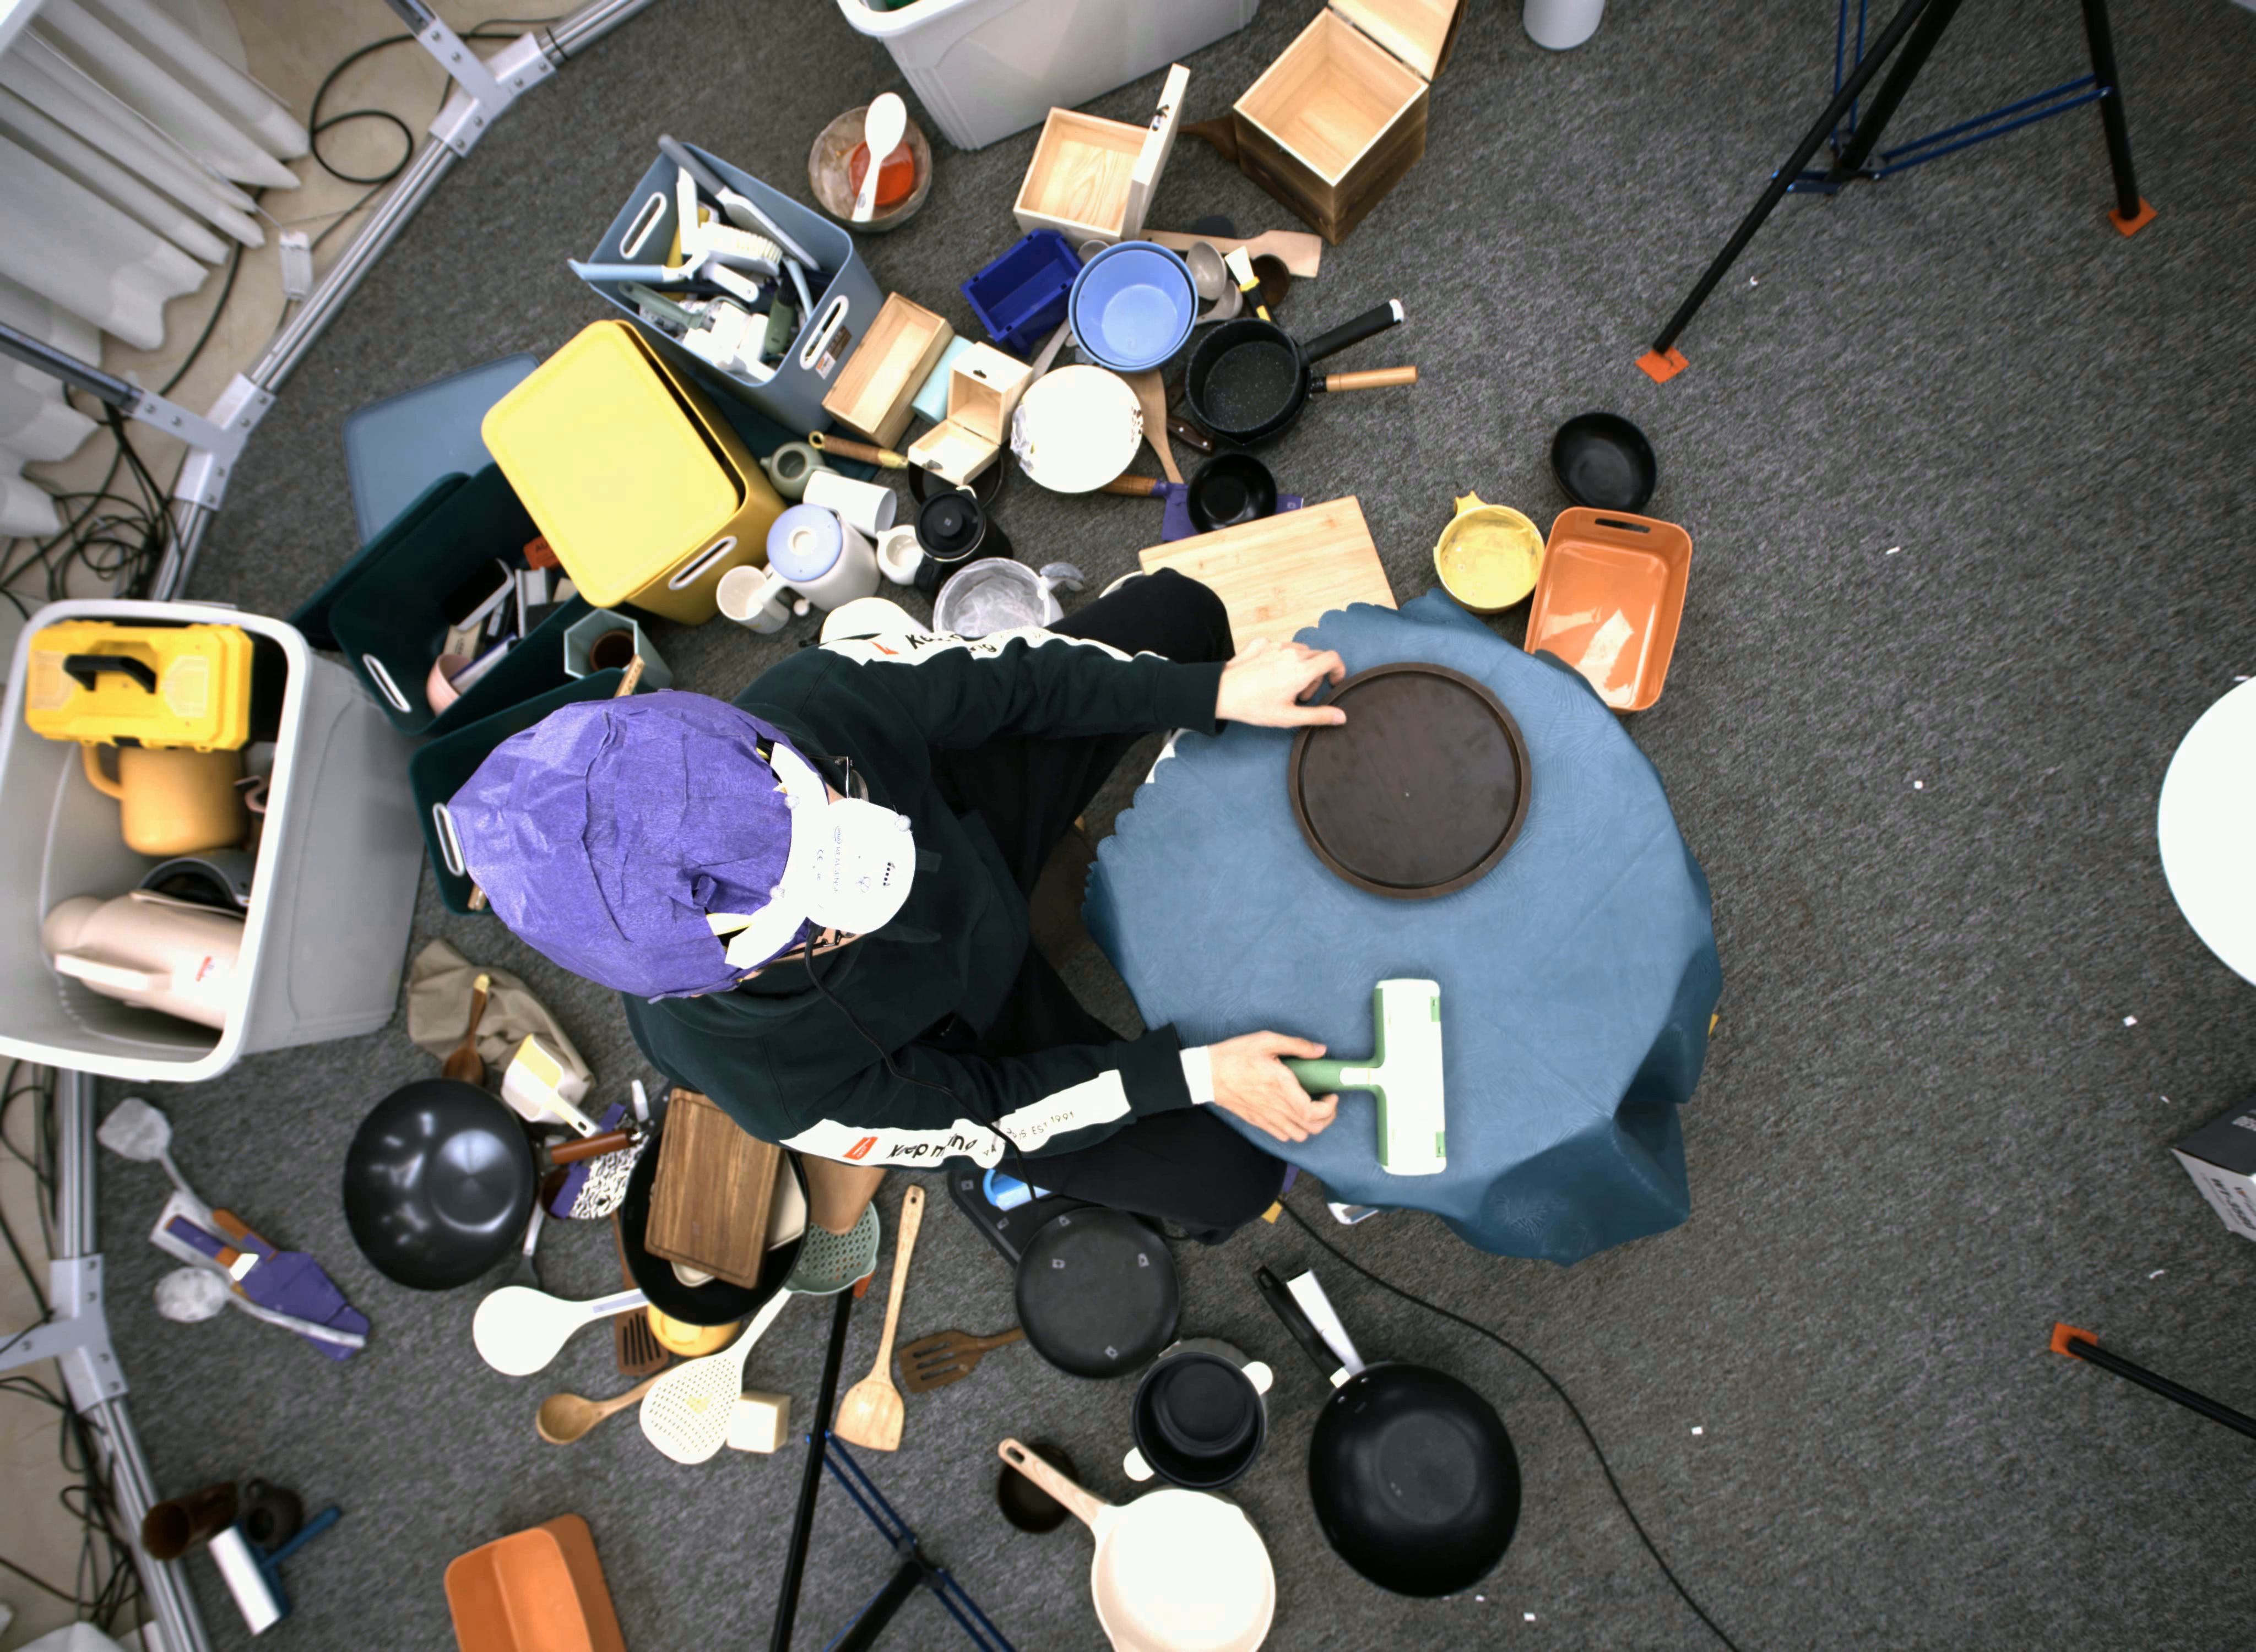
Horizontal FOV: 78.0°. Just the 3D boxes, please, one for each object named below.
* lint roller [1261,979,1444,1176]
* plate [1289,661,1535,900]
[{"bbox_3d":[0.227,0.255,1.414,0.184,0.082,0.198,-1,86,7],"label":"lint roller"},{"bbox_3d":[0.296,-0.050,1.445,0.256,0.029,0.254,-1,88,9],"label":"plate"}]
